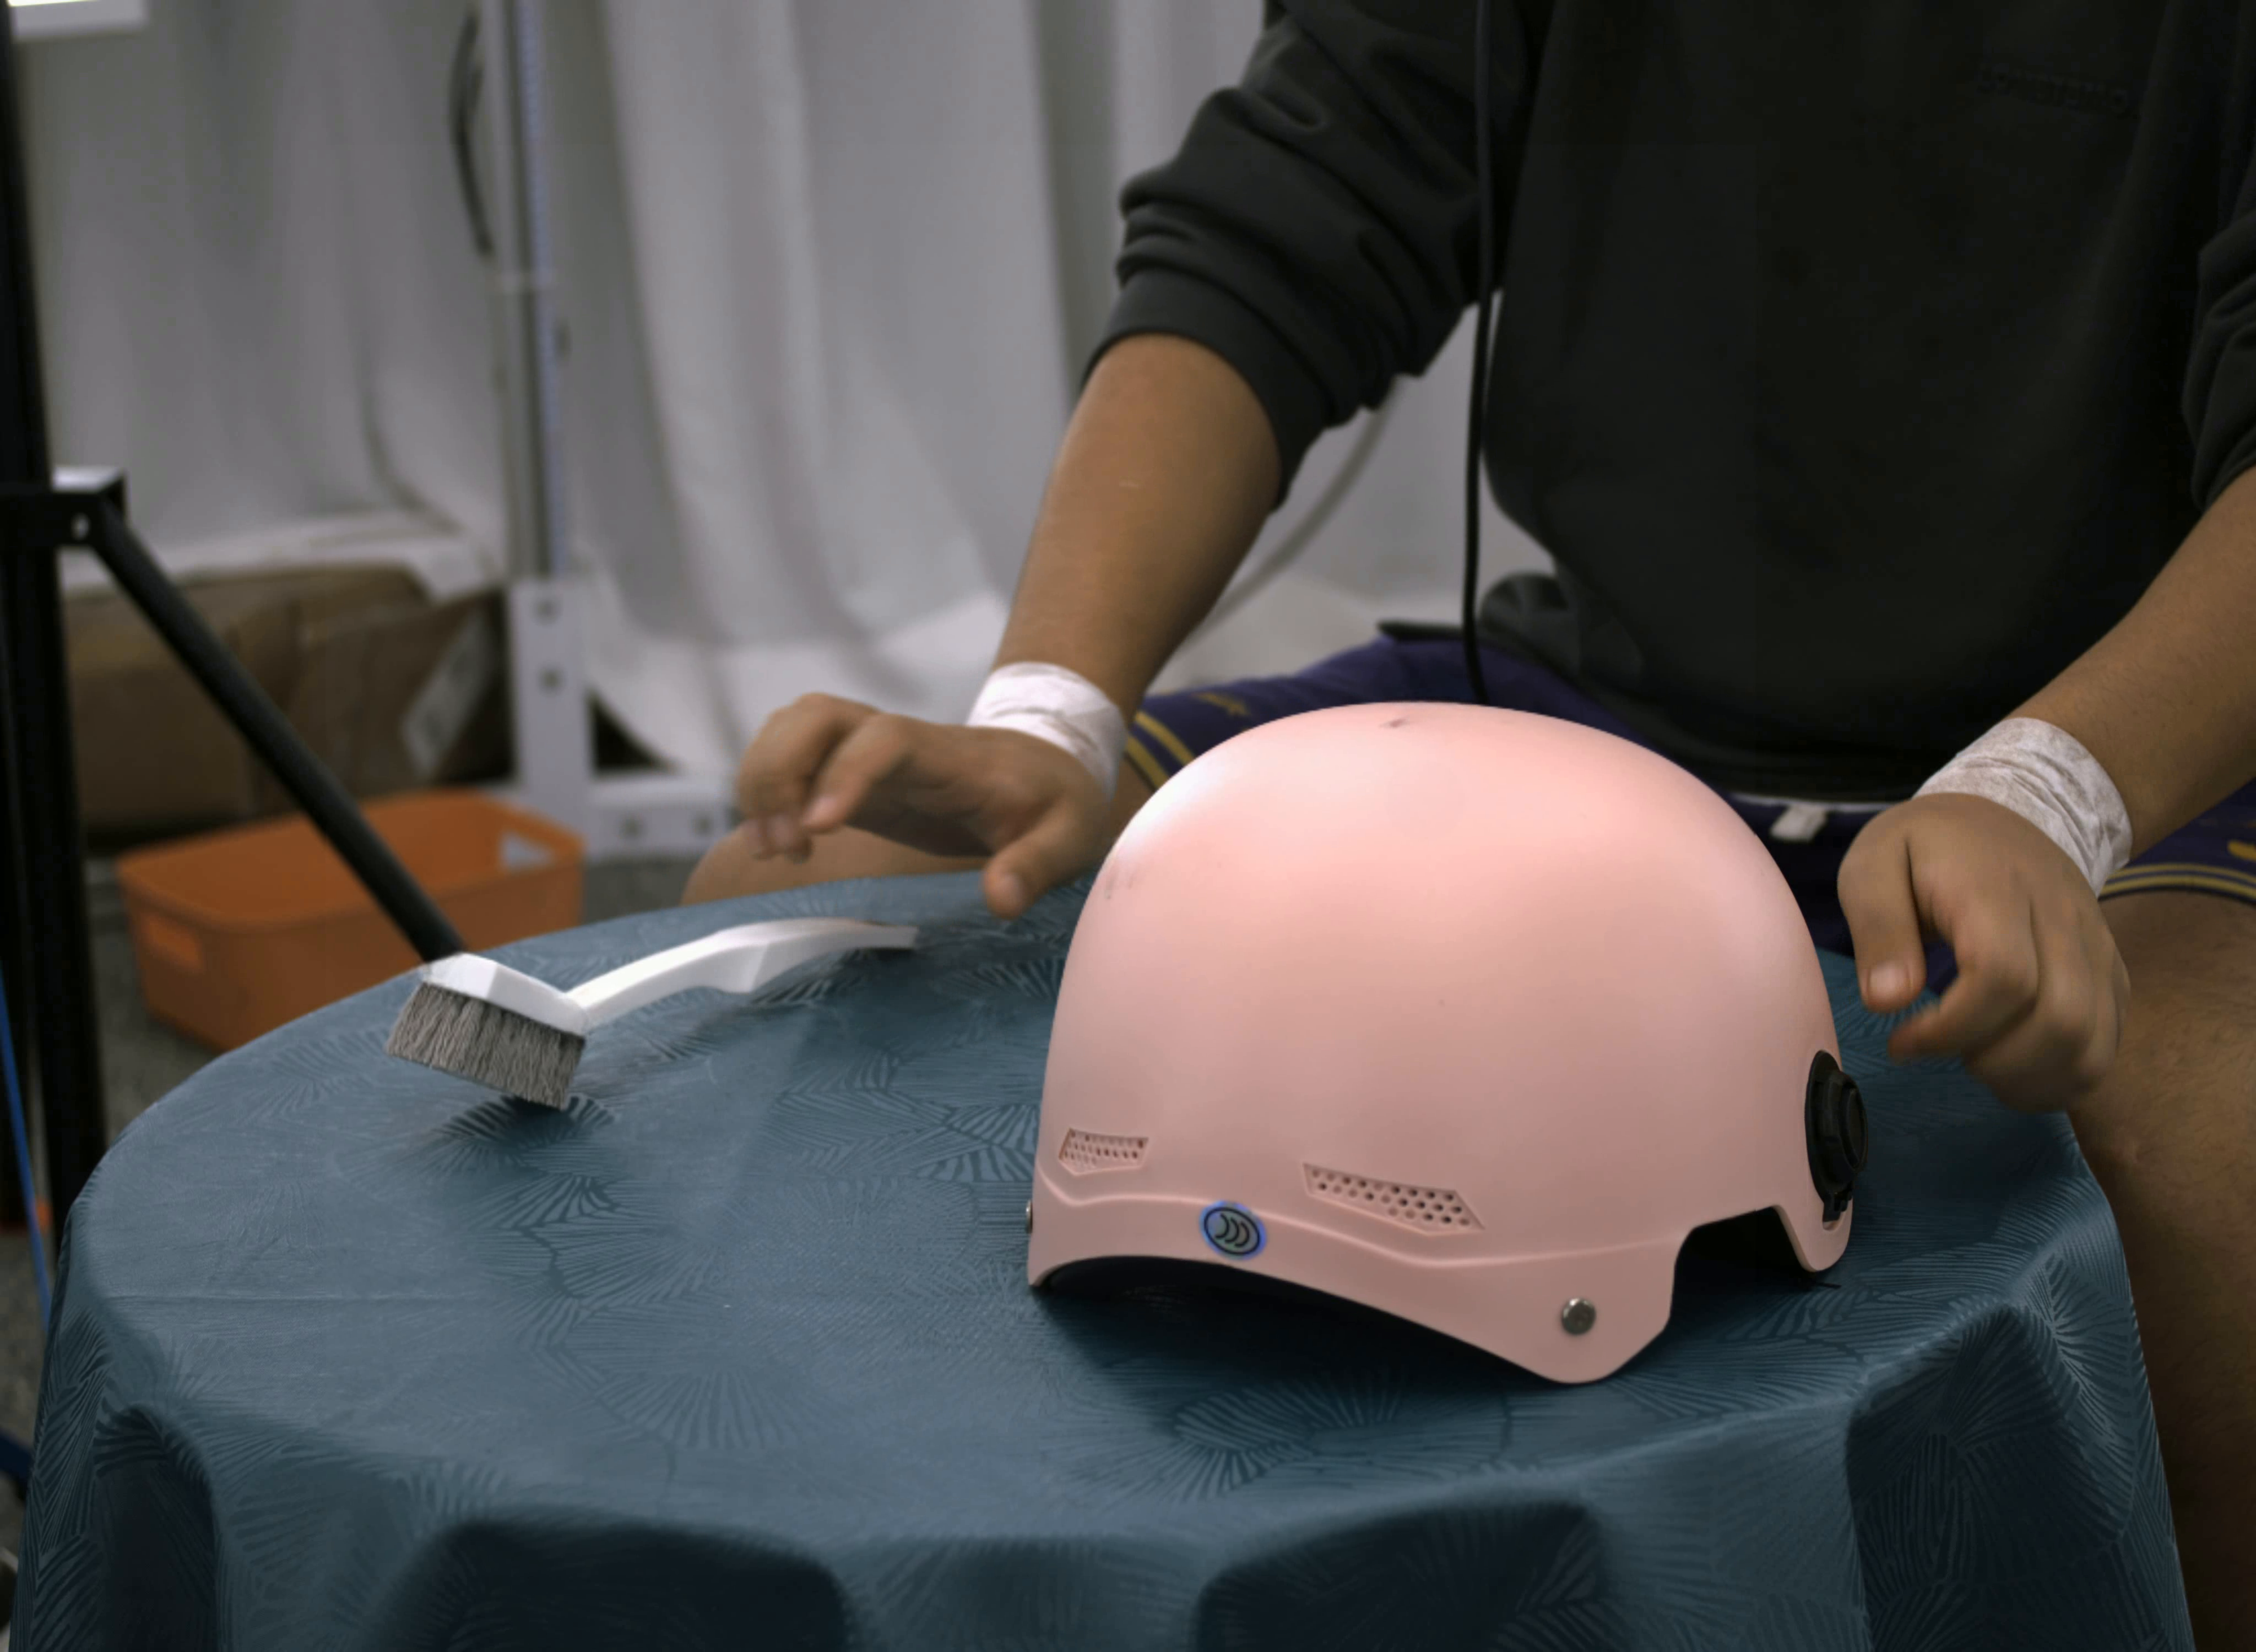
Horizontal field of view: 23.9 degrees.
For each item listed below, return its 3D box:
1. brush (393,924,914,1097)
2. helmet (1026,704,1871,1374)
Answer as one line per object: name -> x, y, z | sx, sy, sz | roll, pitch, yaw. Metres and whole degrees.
brush -> -0.147, 0.059, 1.718 | 0.035, 0.050, 0.238 | 9, 6, 33
helmet -> 0.092, 0.044, 1.497 | 0.238, 0.159, 0.260 | 6, 13, 32
